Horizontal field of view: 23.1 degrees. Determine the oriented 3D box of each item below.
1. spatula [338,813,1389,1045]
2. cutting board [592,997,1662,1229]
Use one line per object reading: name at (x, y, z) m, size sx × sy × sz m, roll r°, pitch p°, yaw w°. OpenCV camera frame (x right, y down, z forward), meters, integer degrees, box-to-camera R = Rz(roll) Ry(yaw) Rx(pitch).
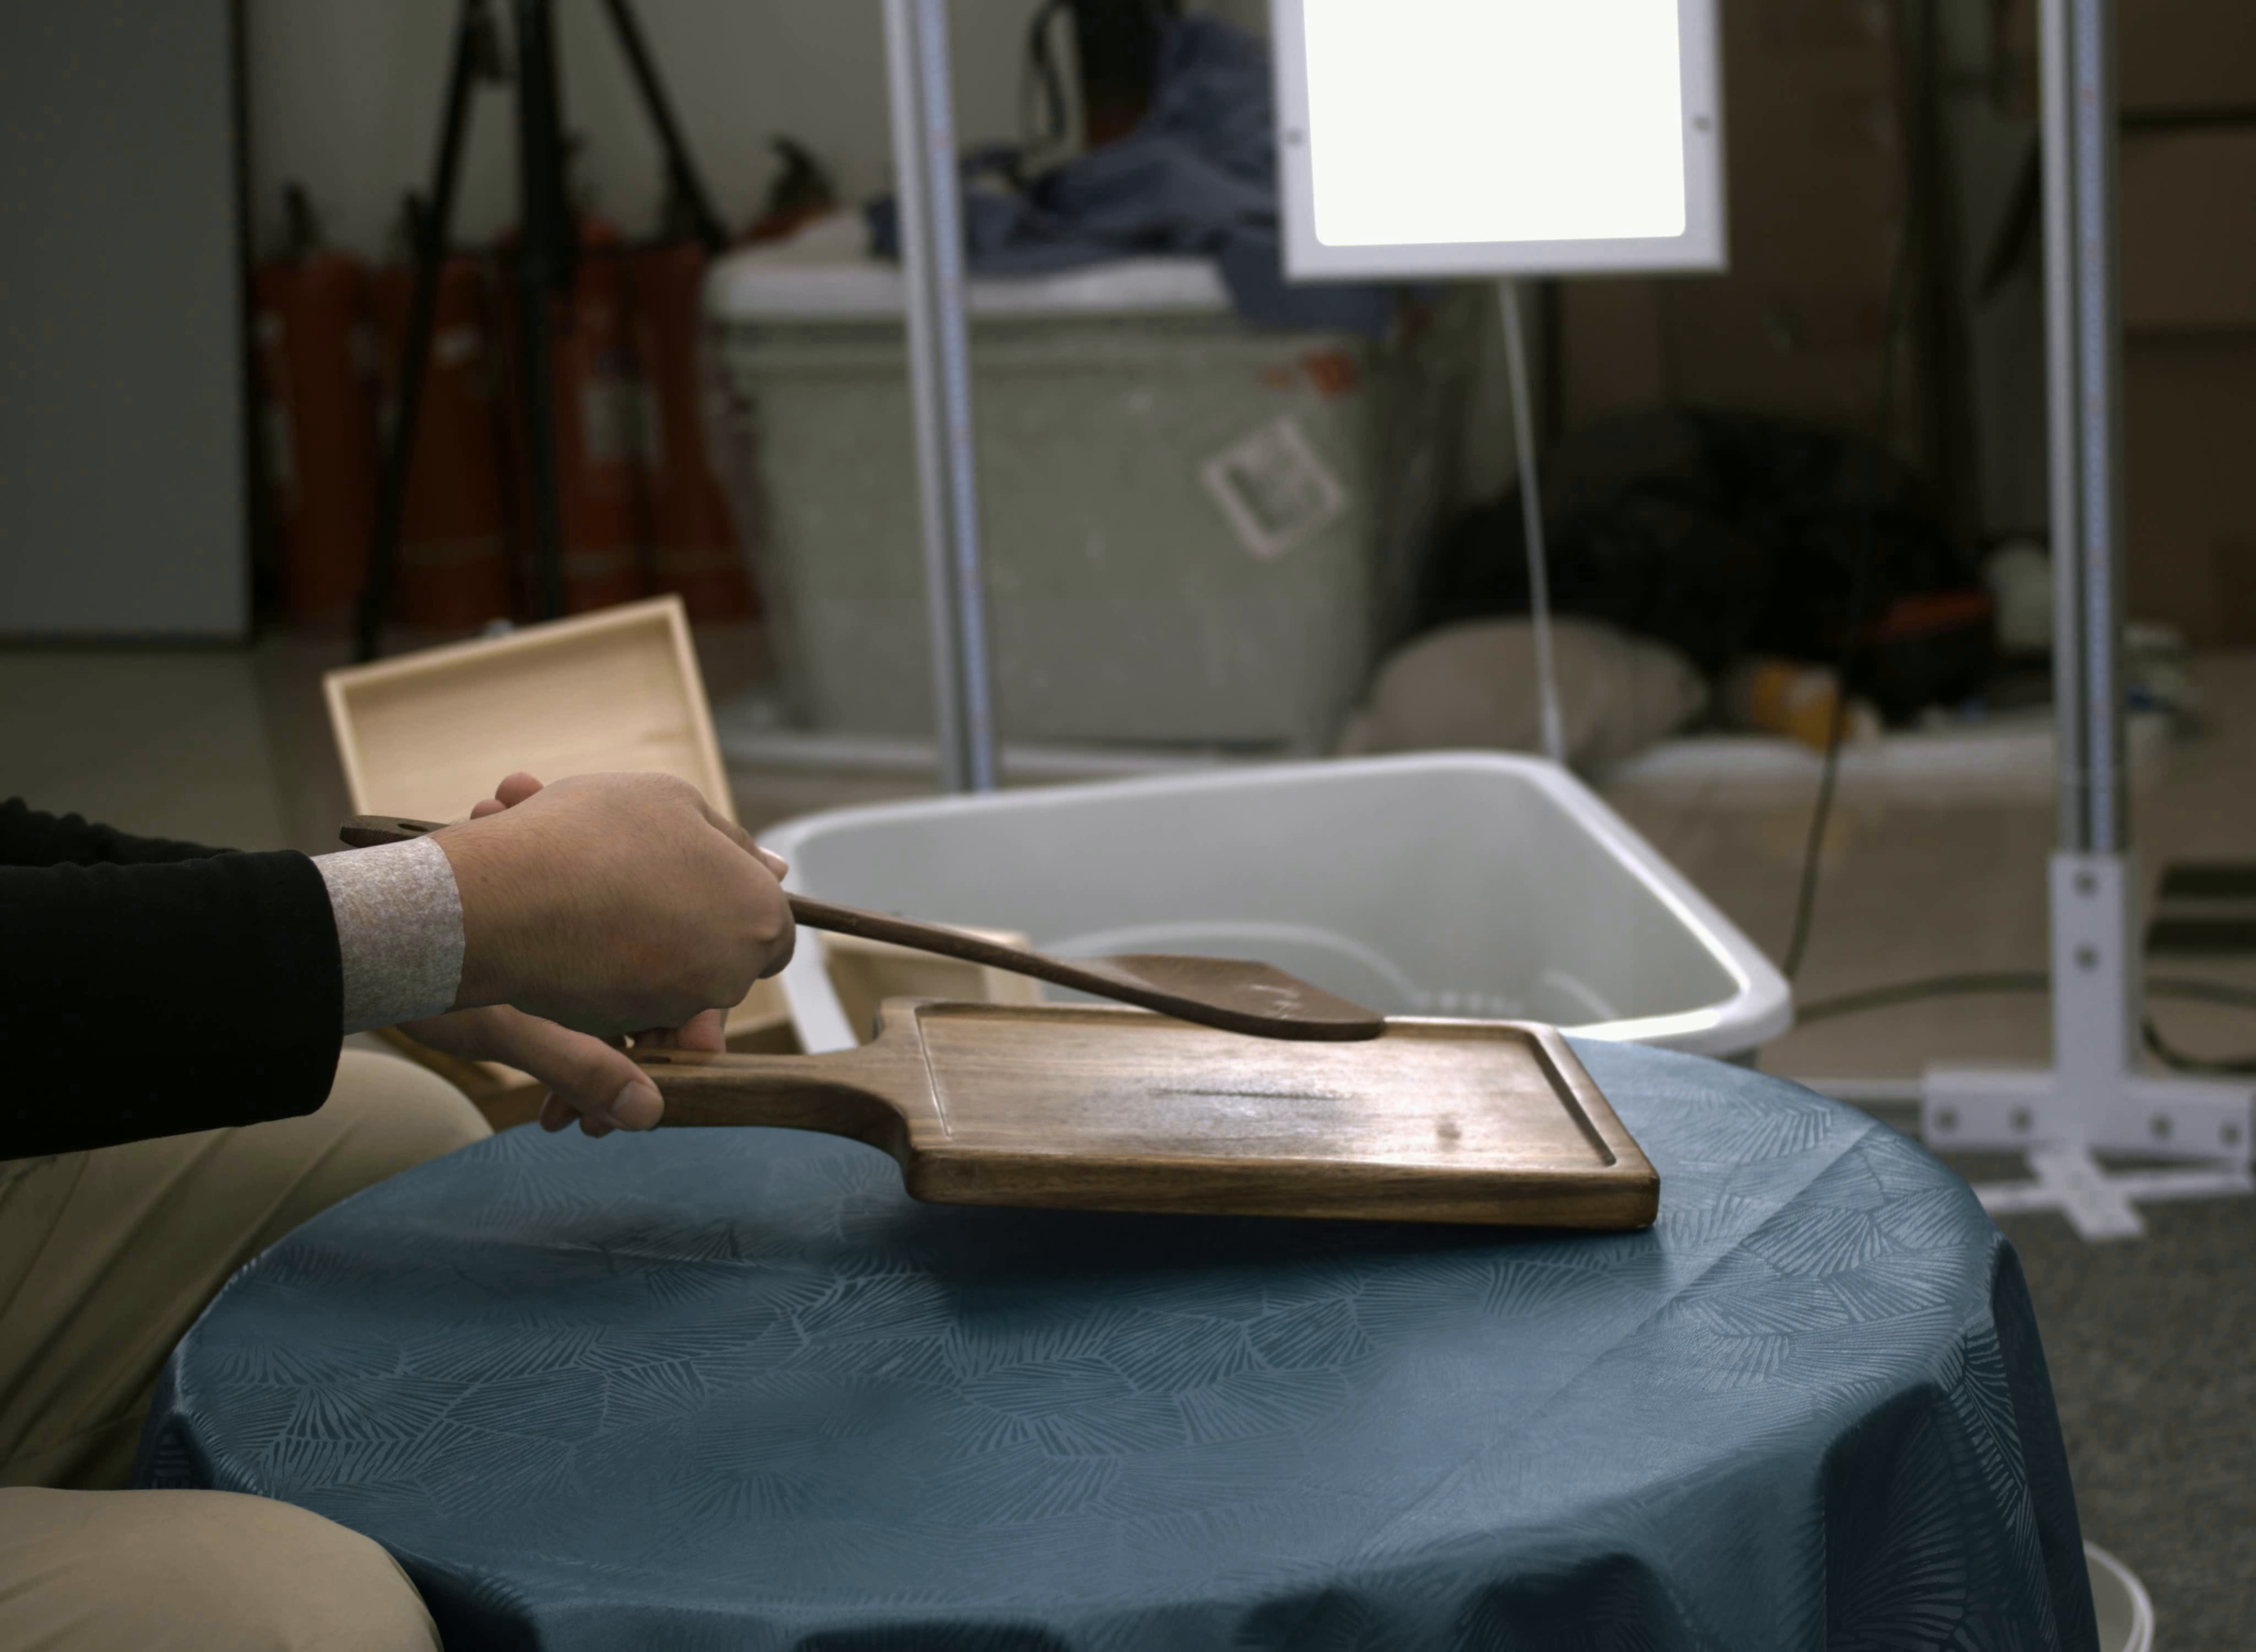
spatula at (-0.083, 0.033, 1.786) m, size 0.377 × 0.016 × 0.098 m, roll 12°, pitch 6°, yaw -32°
cutting board at (-0.007, 0.095, 1.884) m, size 0.349 × 0.023 × 0.201 m, roll 2°, pitch 13°, yaw -5°
